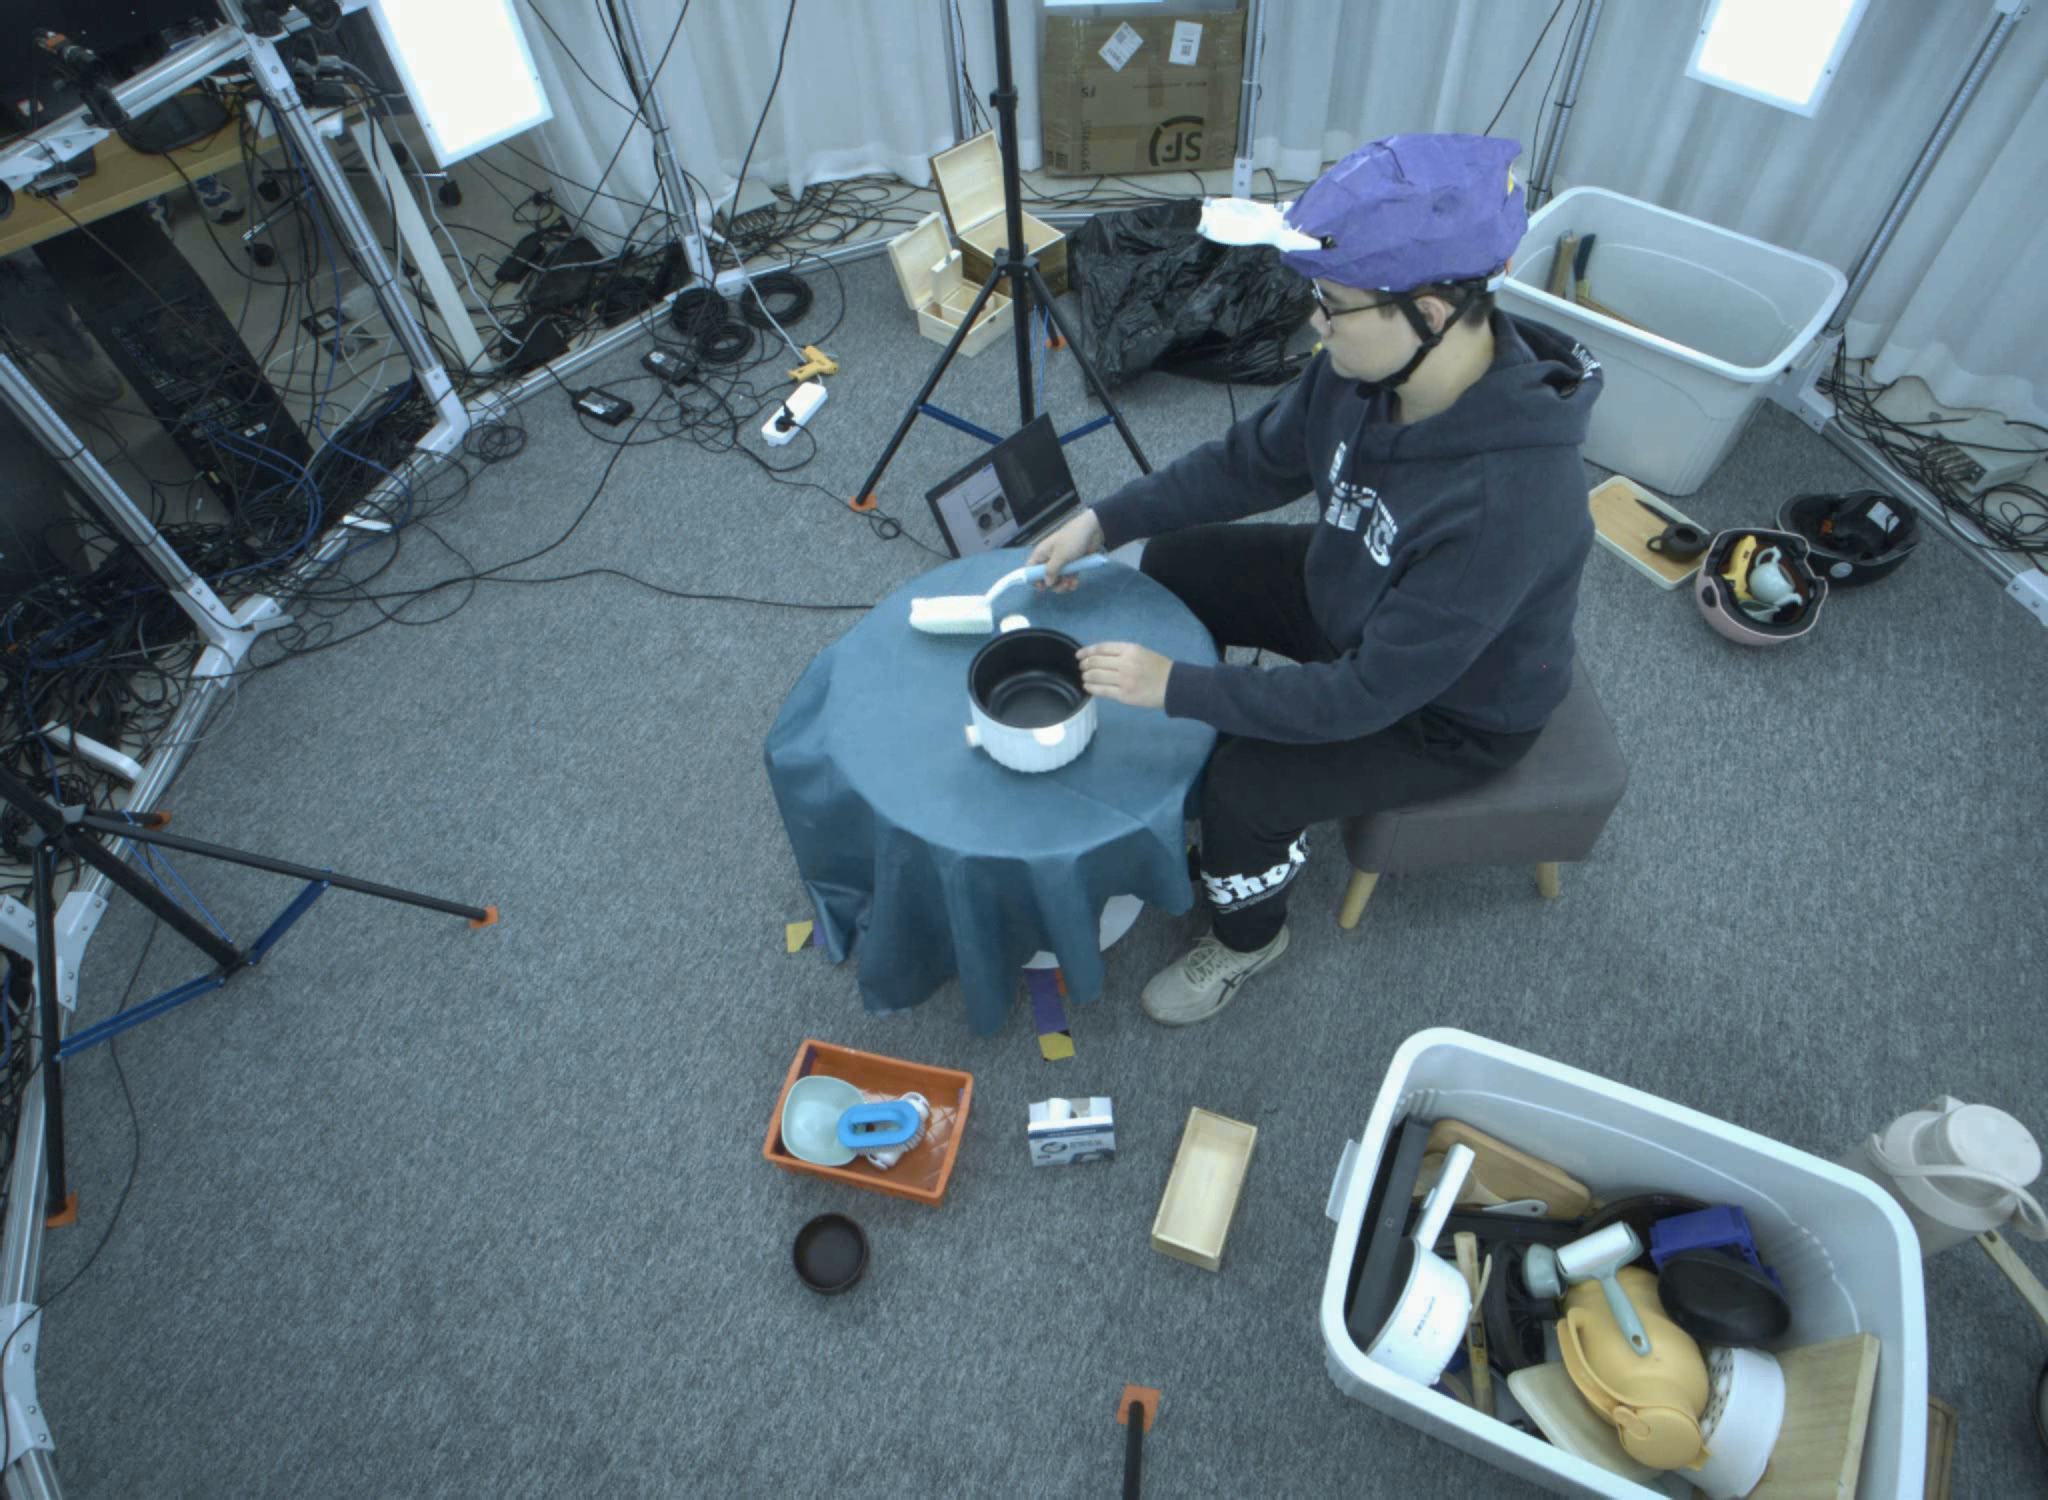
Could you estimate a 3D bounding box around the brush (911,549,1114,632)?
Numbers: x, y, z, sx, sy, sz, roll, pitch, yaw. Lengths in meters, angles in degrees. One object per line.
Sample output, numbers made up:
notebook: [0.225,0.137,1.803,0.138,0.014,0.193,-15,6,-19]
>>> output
brush: [-0.015,-0.234,1.895,0.325,0.085,0.082,-12,19,1]

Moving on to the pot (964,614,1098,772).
pot: [0.008,-0.062,1.746,0.192,0.144,0.236,-12,54,-10]
